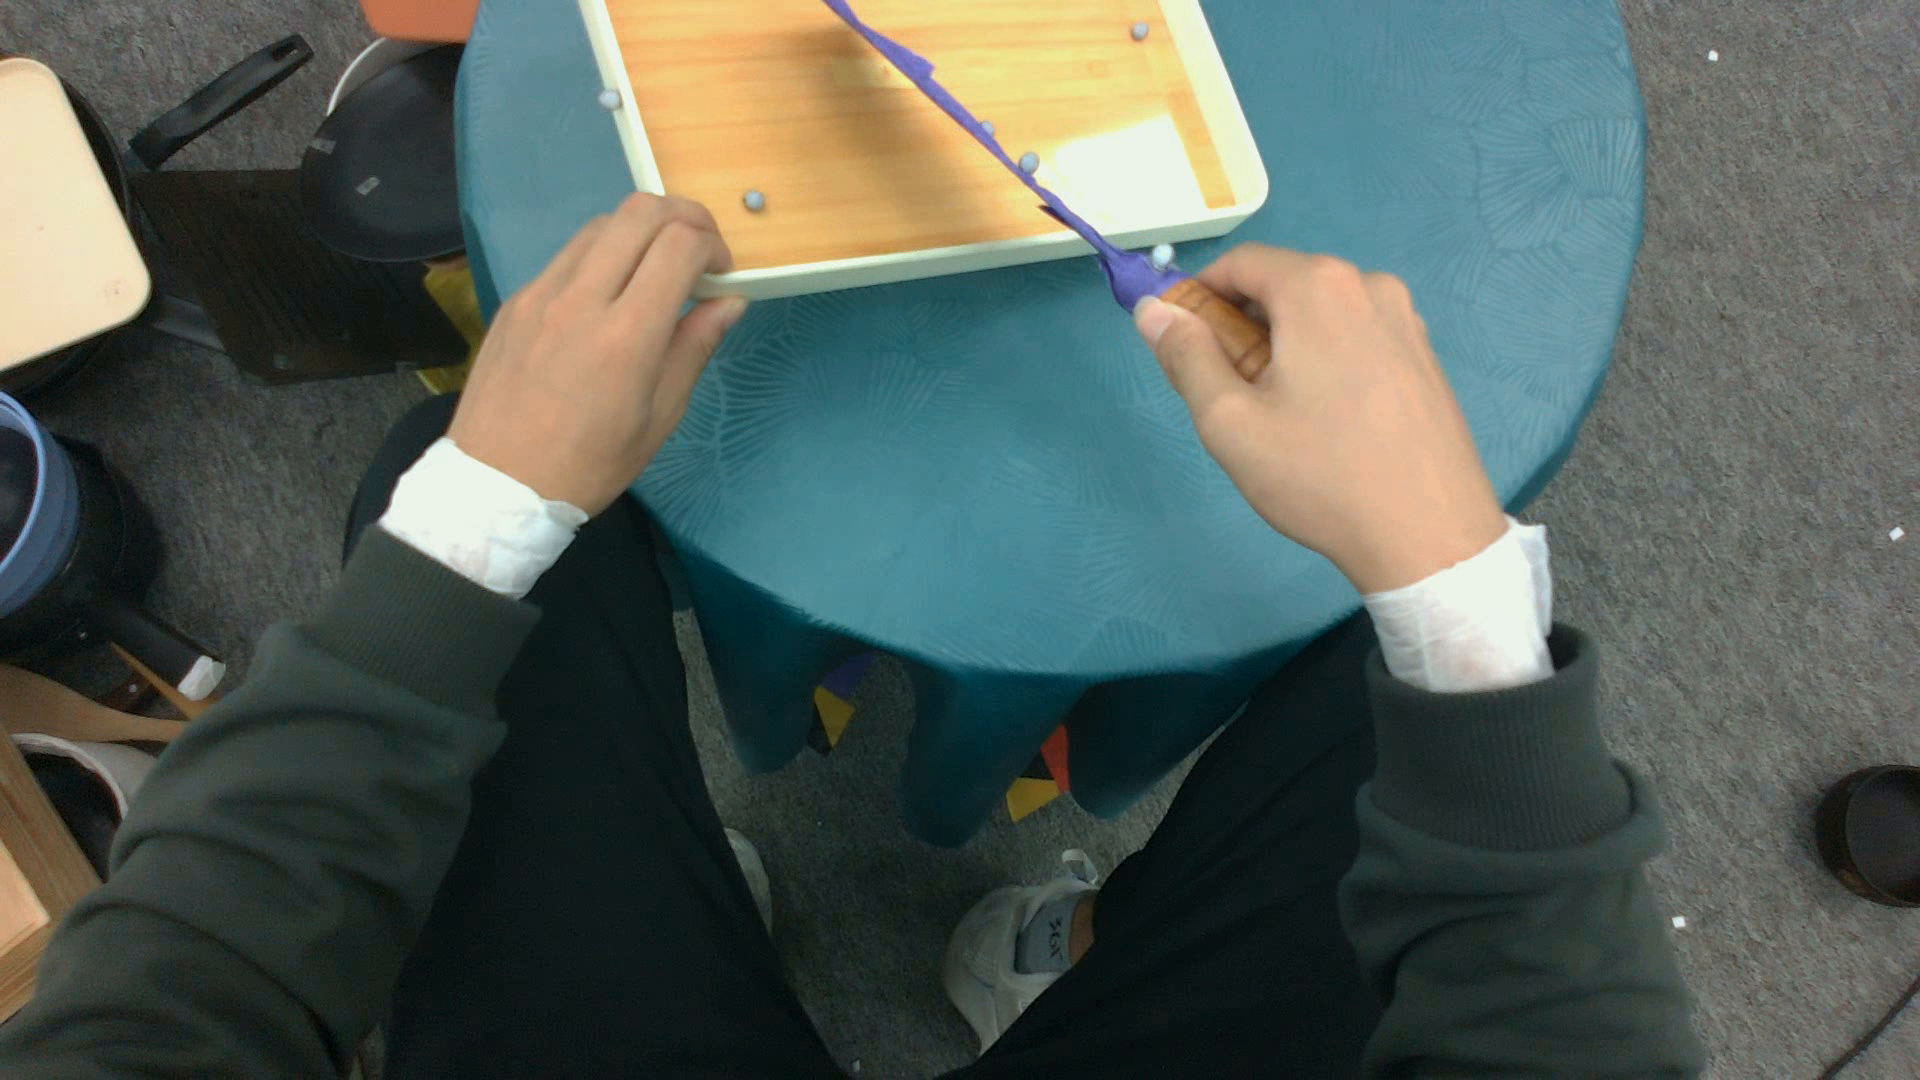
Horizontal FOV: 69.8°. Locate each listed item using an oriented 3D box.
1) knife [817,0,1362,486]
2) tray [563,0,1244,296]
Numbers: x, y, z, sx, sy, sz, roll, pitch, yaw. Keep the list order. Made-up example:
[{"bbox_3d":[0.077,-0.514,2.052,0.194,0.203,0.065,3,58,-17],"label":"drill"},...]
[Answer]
[{"bbox_3d":[0.034,-0.139,0.539,0.032,0.104,0.315,-47,77,14],"label":"knife"},{"bbox_3d":[-0.020,-0.219,0.630,0.301,0.027,0.192,-14,79,-28],"label":"tray"}]
